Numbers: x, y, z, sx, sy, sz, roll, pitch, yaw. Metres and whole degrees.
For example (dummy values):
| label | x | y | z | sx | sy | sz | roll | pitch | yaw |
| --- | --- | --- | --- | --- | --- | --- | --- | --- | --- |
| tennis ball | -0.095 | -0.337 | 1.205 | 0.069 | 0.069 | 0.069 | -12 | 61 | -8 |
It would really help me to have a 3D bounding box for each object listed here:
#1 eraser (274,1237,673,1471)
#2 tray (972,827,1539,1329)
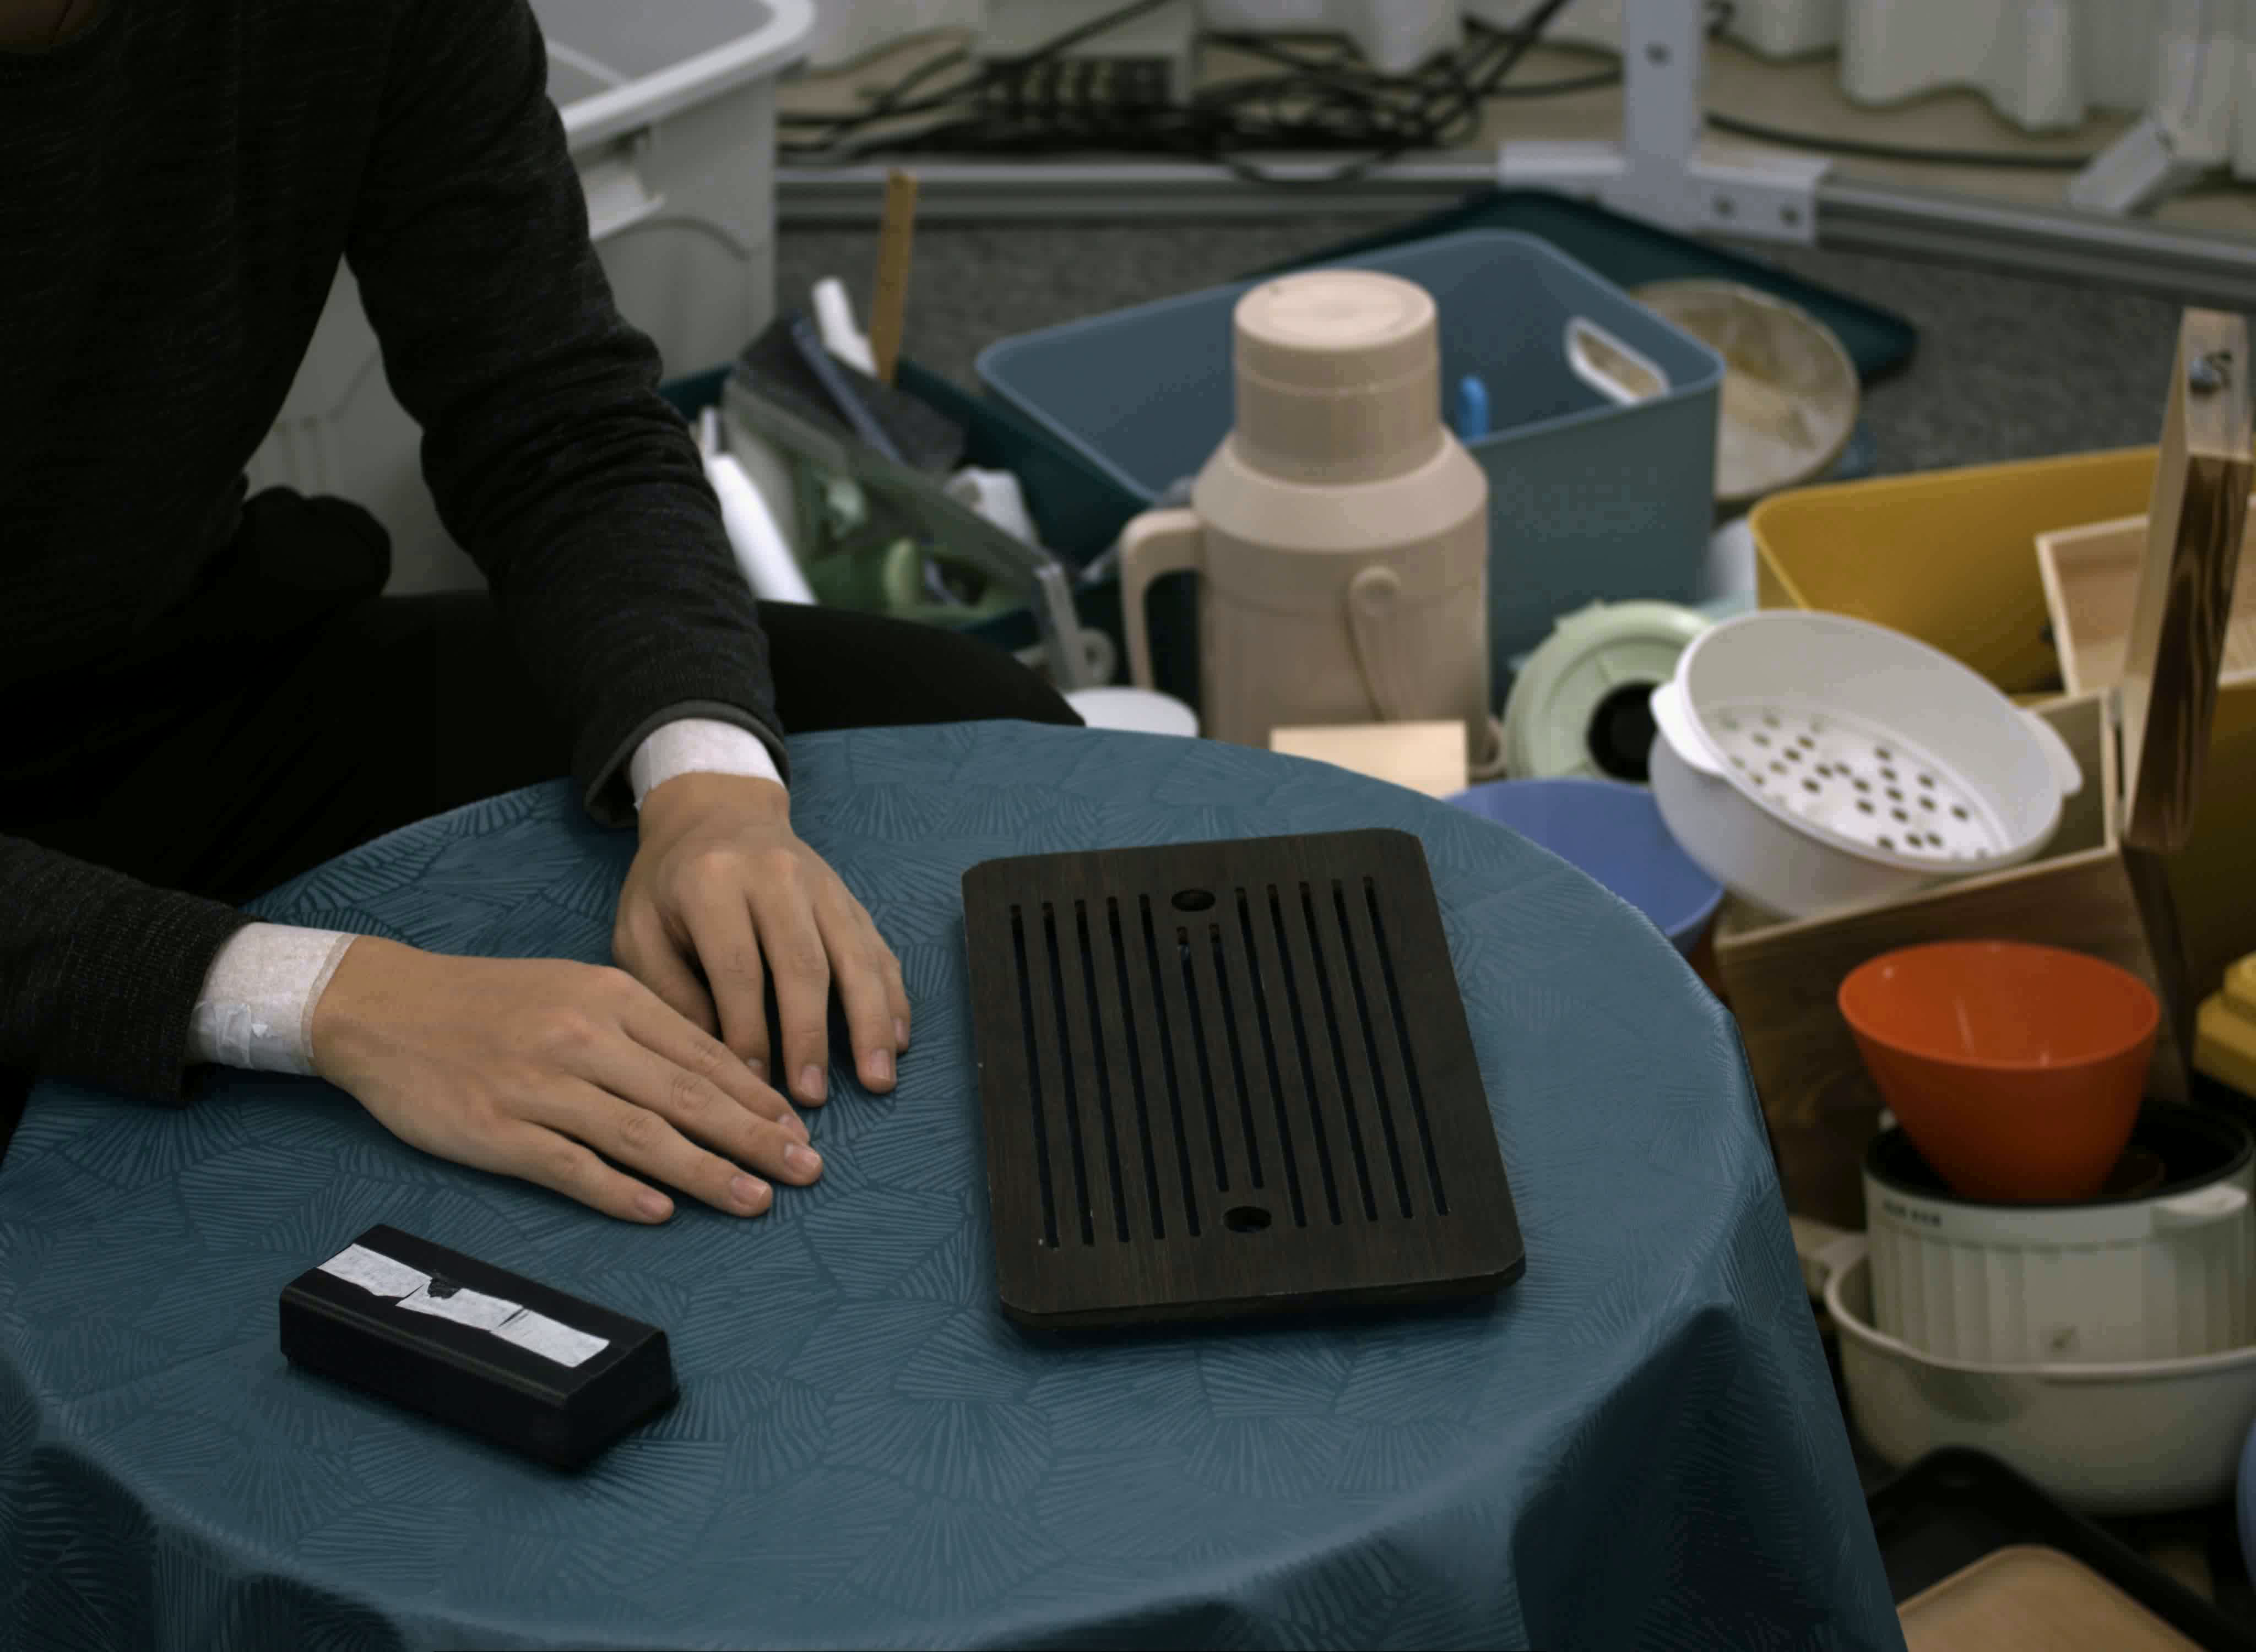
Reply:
| label | x | y | z | sx | sy | sz | roll | pitch | yaw |
| --- | --- | --- | --- | --- | --- | --- | --- | --- | --- |
| eraser | -0.206 | 0.166 | 1.767 | 0.125 | 0.030 | 0.054 | 15 | 30 | 33 |
| tray | 0.037 | 0.083 | 1.912 | 0.169 | 0.018 | 0.310 | -4 | 27 | -2 |
